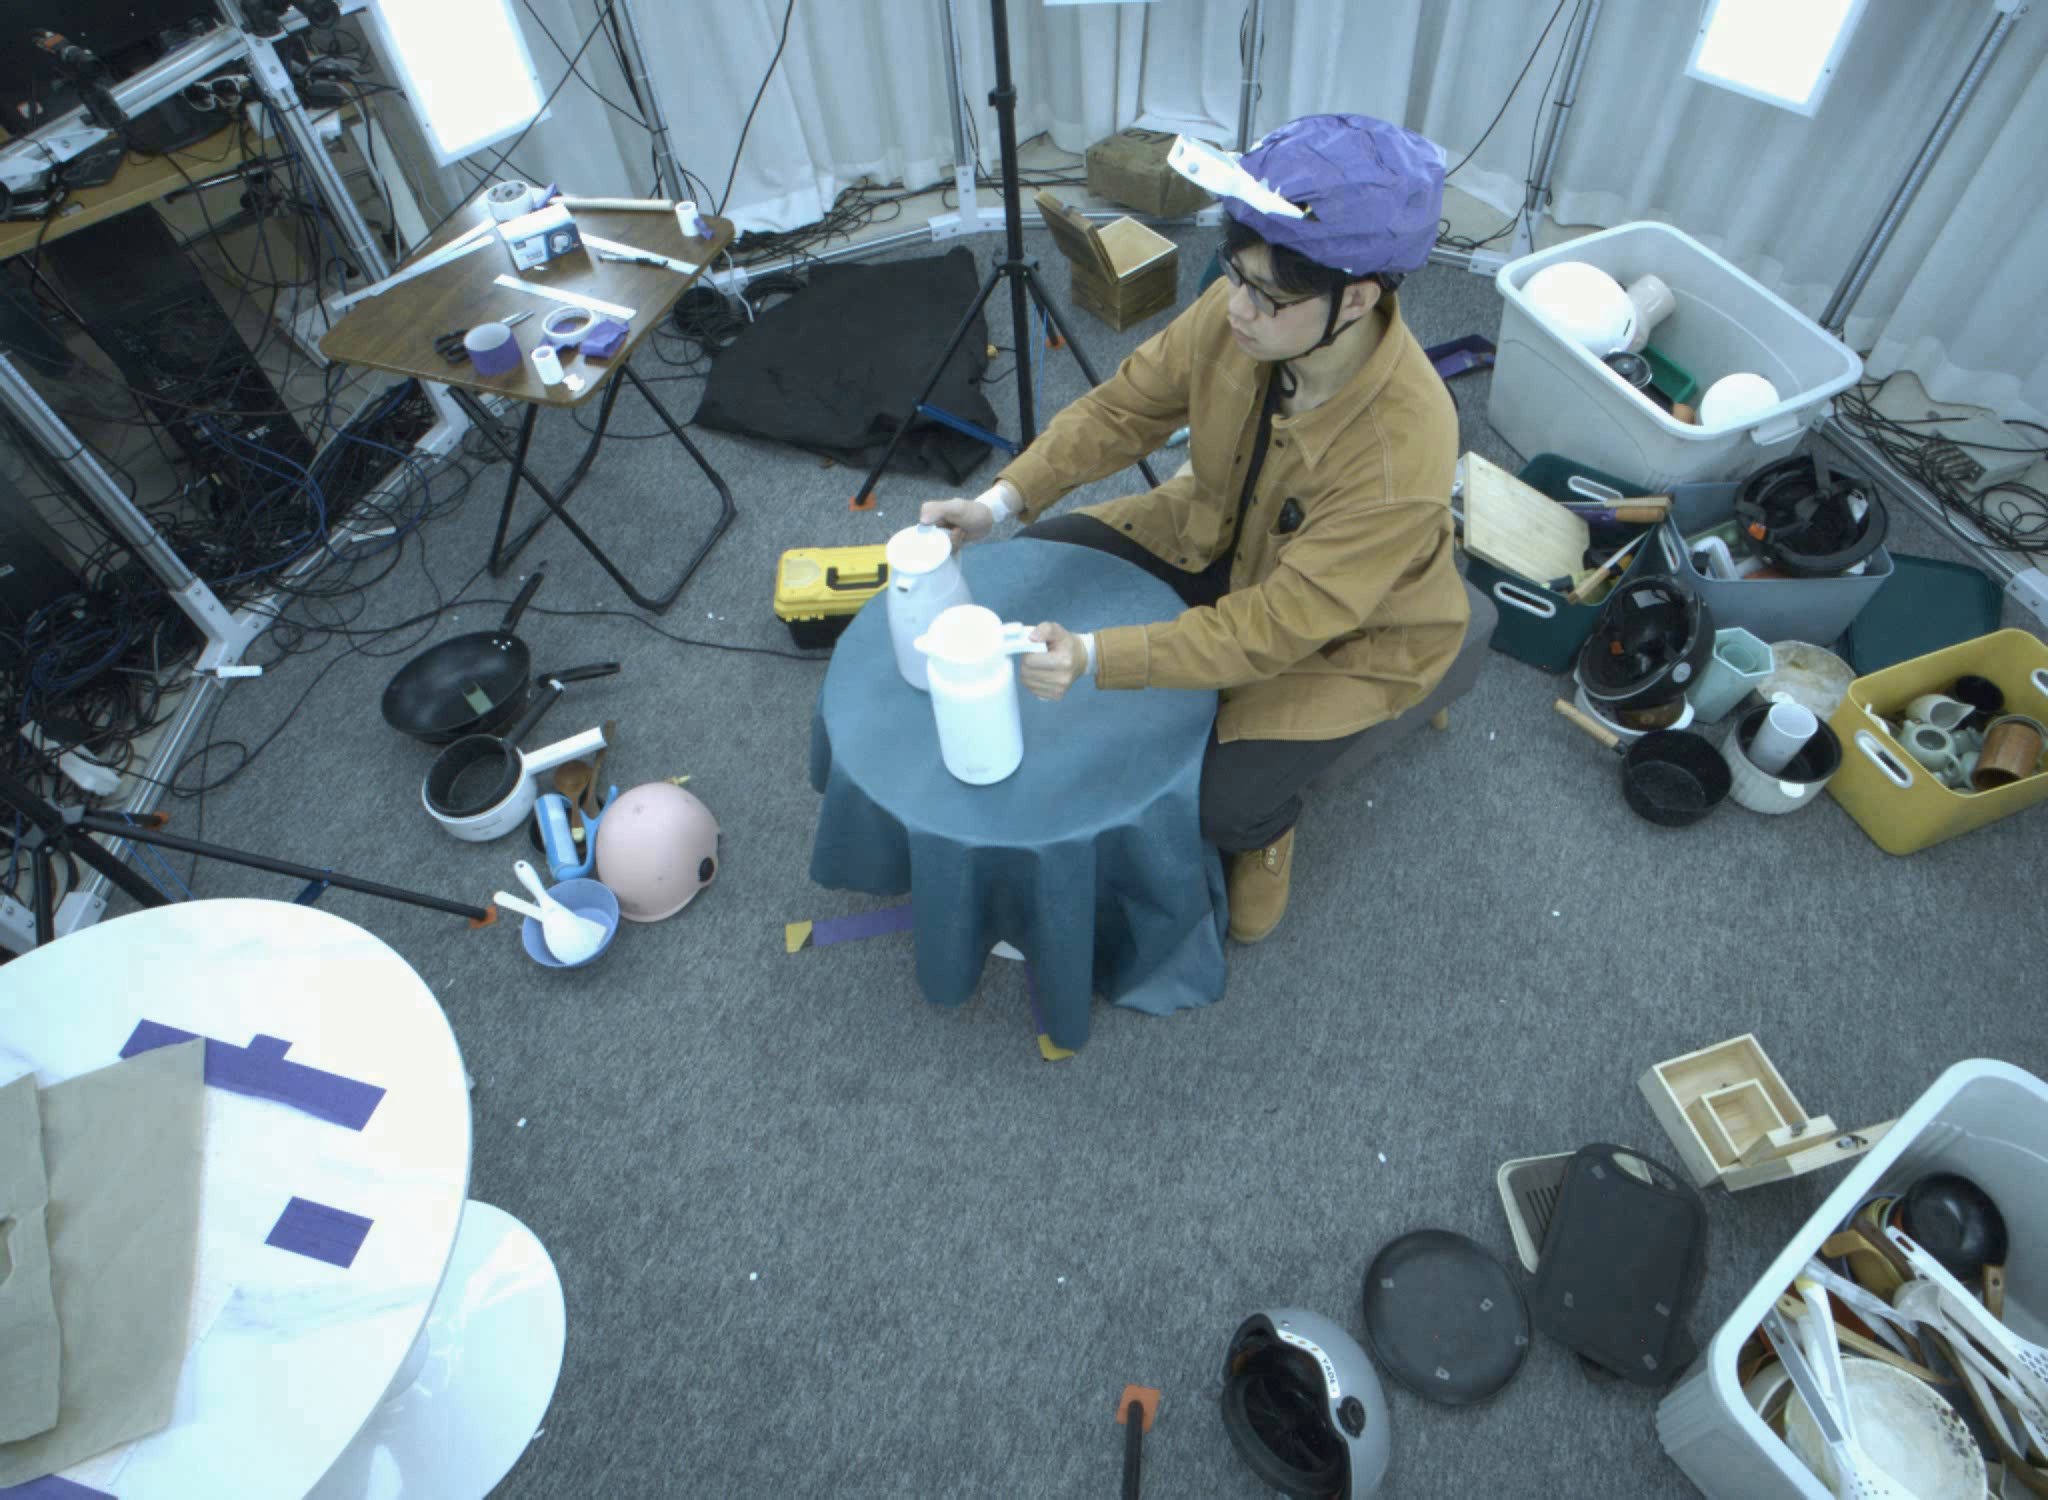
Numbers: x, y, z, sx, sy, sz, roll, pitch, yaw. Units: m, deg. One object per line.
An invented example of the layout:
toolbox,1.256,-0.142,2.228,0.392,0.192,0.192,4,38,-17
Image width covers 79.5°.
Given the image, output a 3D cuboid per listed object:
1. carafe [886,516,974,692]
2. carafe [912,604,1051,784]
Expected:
carafe,-0.134,-0.227,1.794,0.131,0.251,0.167,15,56,14
carafe,-0.051,-0.076,1.673,0.173,0.272,0.122,-8,52,-2
